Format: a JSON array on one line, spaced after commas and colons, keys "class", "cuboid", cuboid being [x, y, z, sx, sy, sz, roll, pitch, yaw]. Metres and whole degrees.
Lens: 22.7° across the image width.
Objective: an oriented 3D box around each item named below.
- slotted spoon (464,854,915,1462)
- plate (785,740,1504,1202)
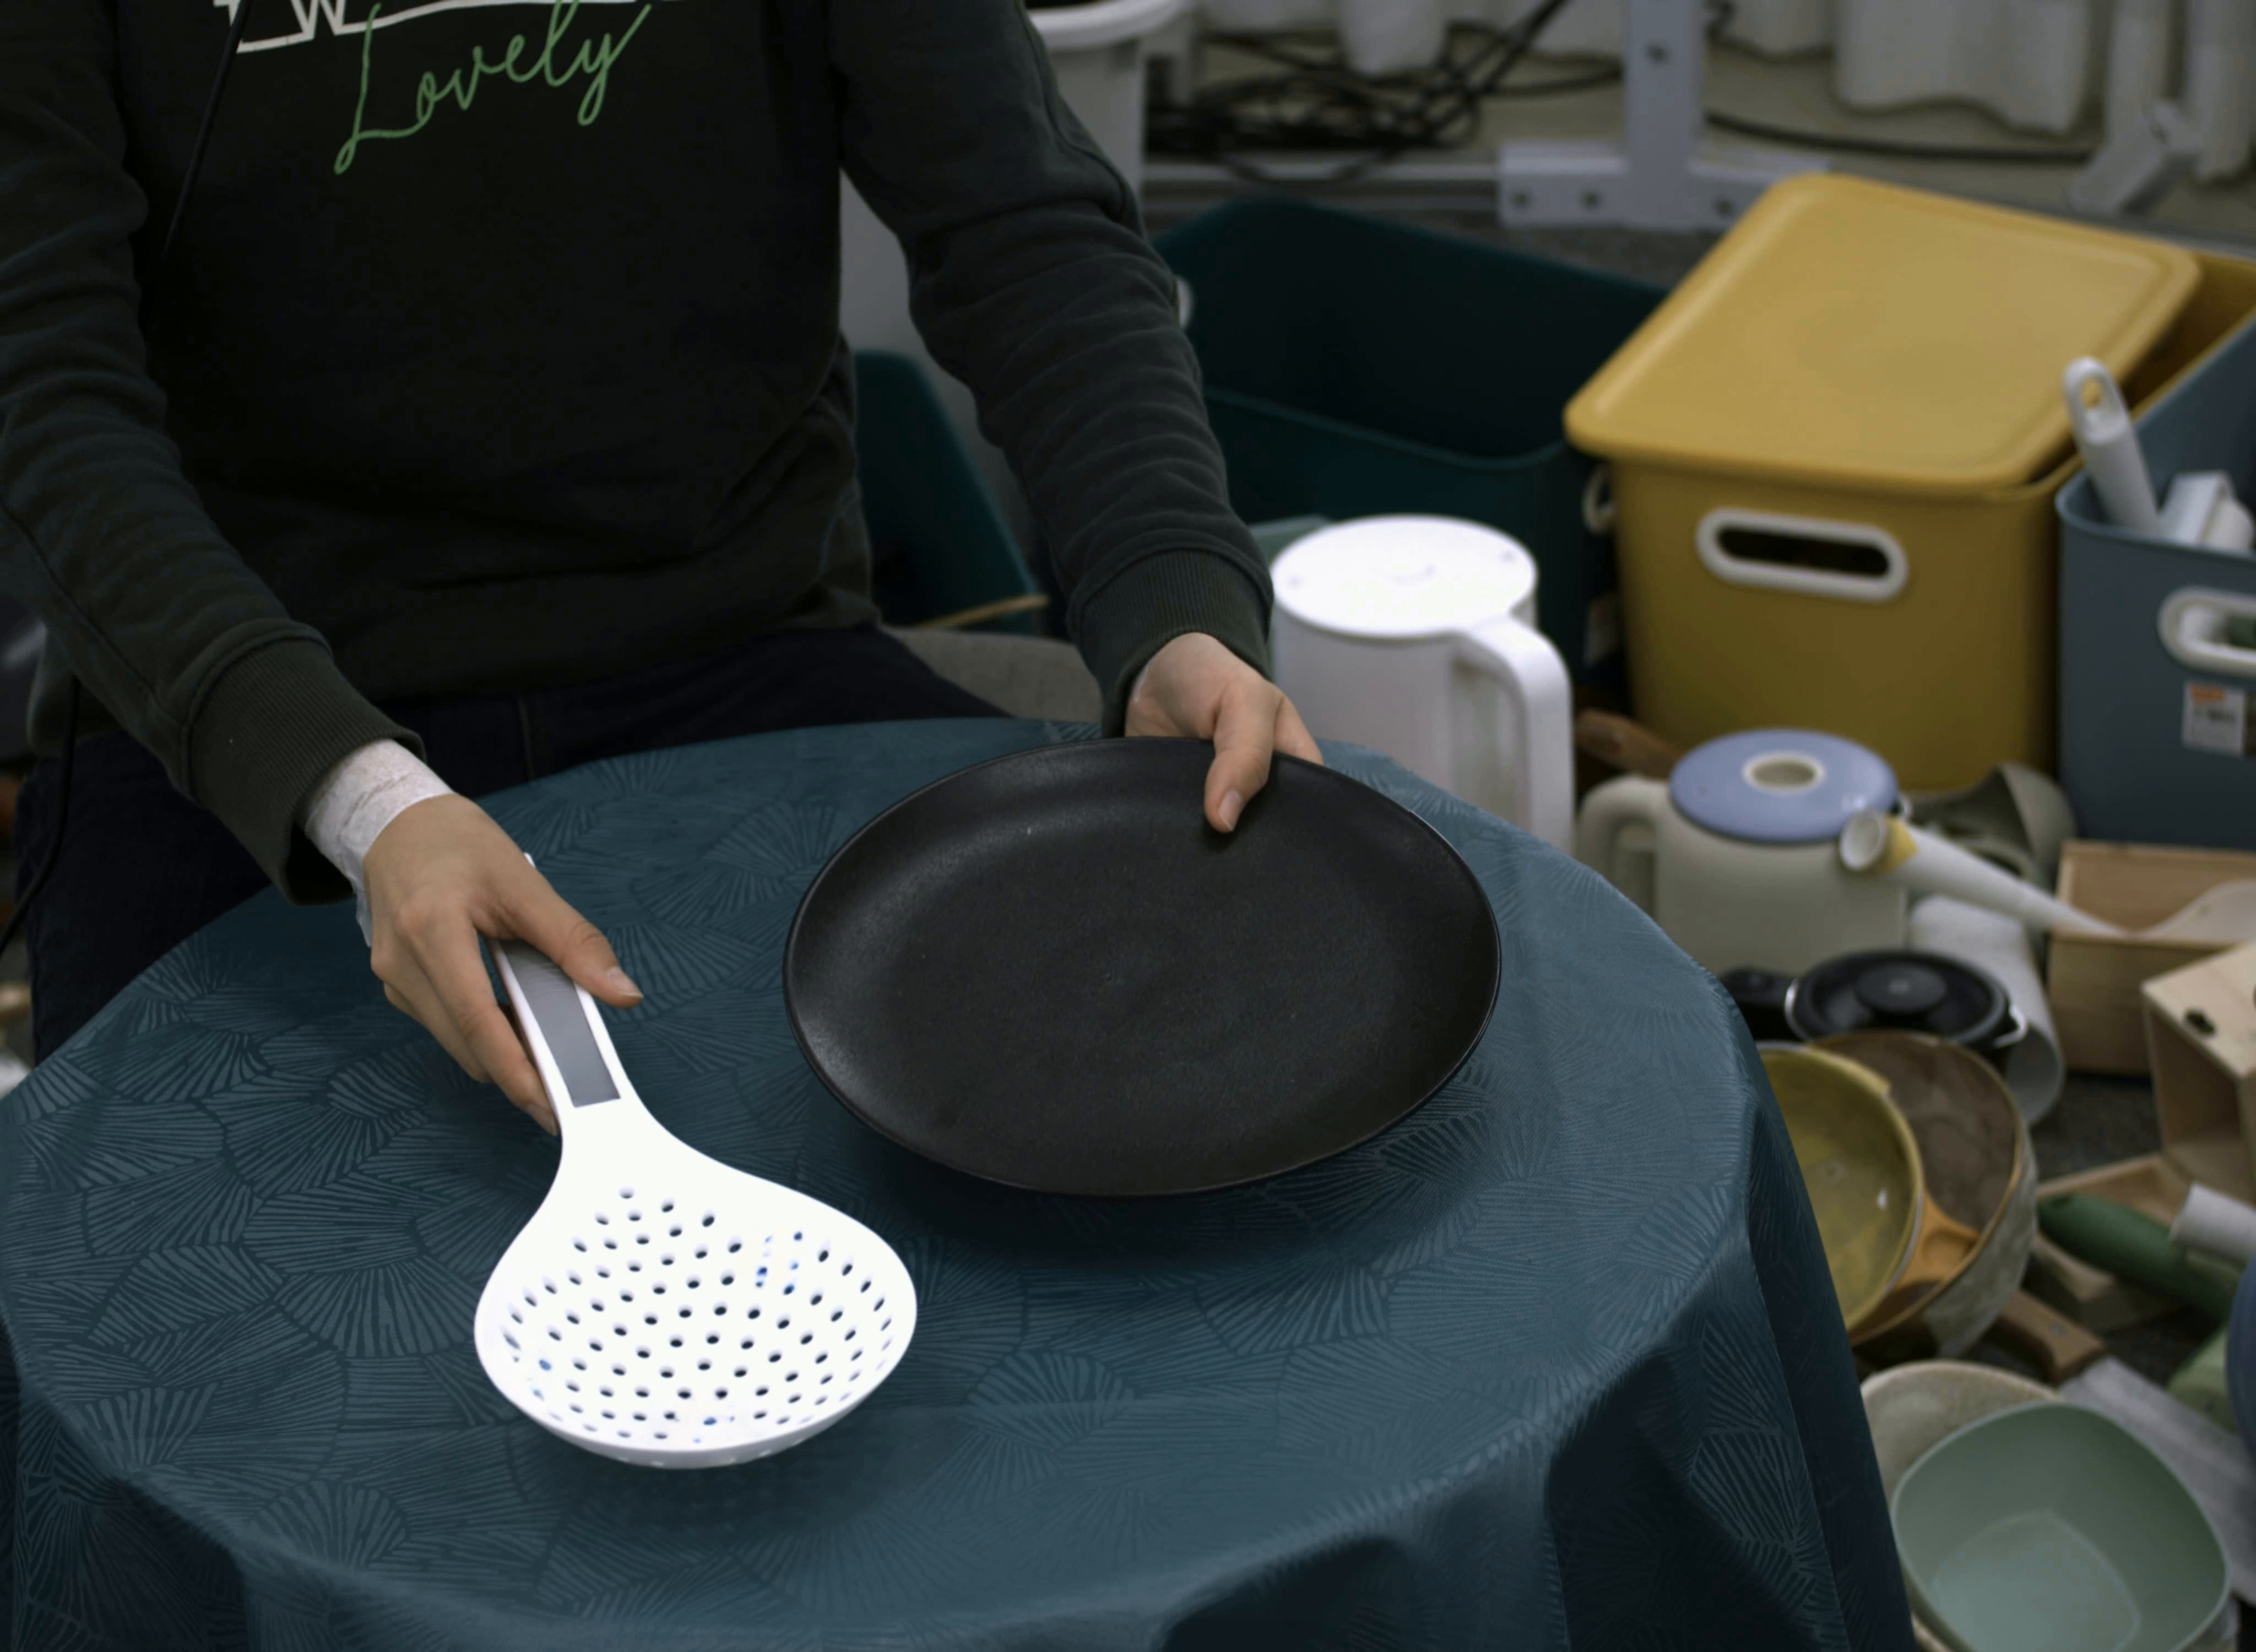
[{"class": "slotted spoon", "cuboid": [-0.167, 0.102, 1.822, 0.136, 0.045, 0.354, -9, 36, -16]}, {"class": "plate", "cuboid": [0.005, 0.051, 1.899, 0.243, 0.023, 0.249, -1, 37, 1]}]
